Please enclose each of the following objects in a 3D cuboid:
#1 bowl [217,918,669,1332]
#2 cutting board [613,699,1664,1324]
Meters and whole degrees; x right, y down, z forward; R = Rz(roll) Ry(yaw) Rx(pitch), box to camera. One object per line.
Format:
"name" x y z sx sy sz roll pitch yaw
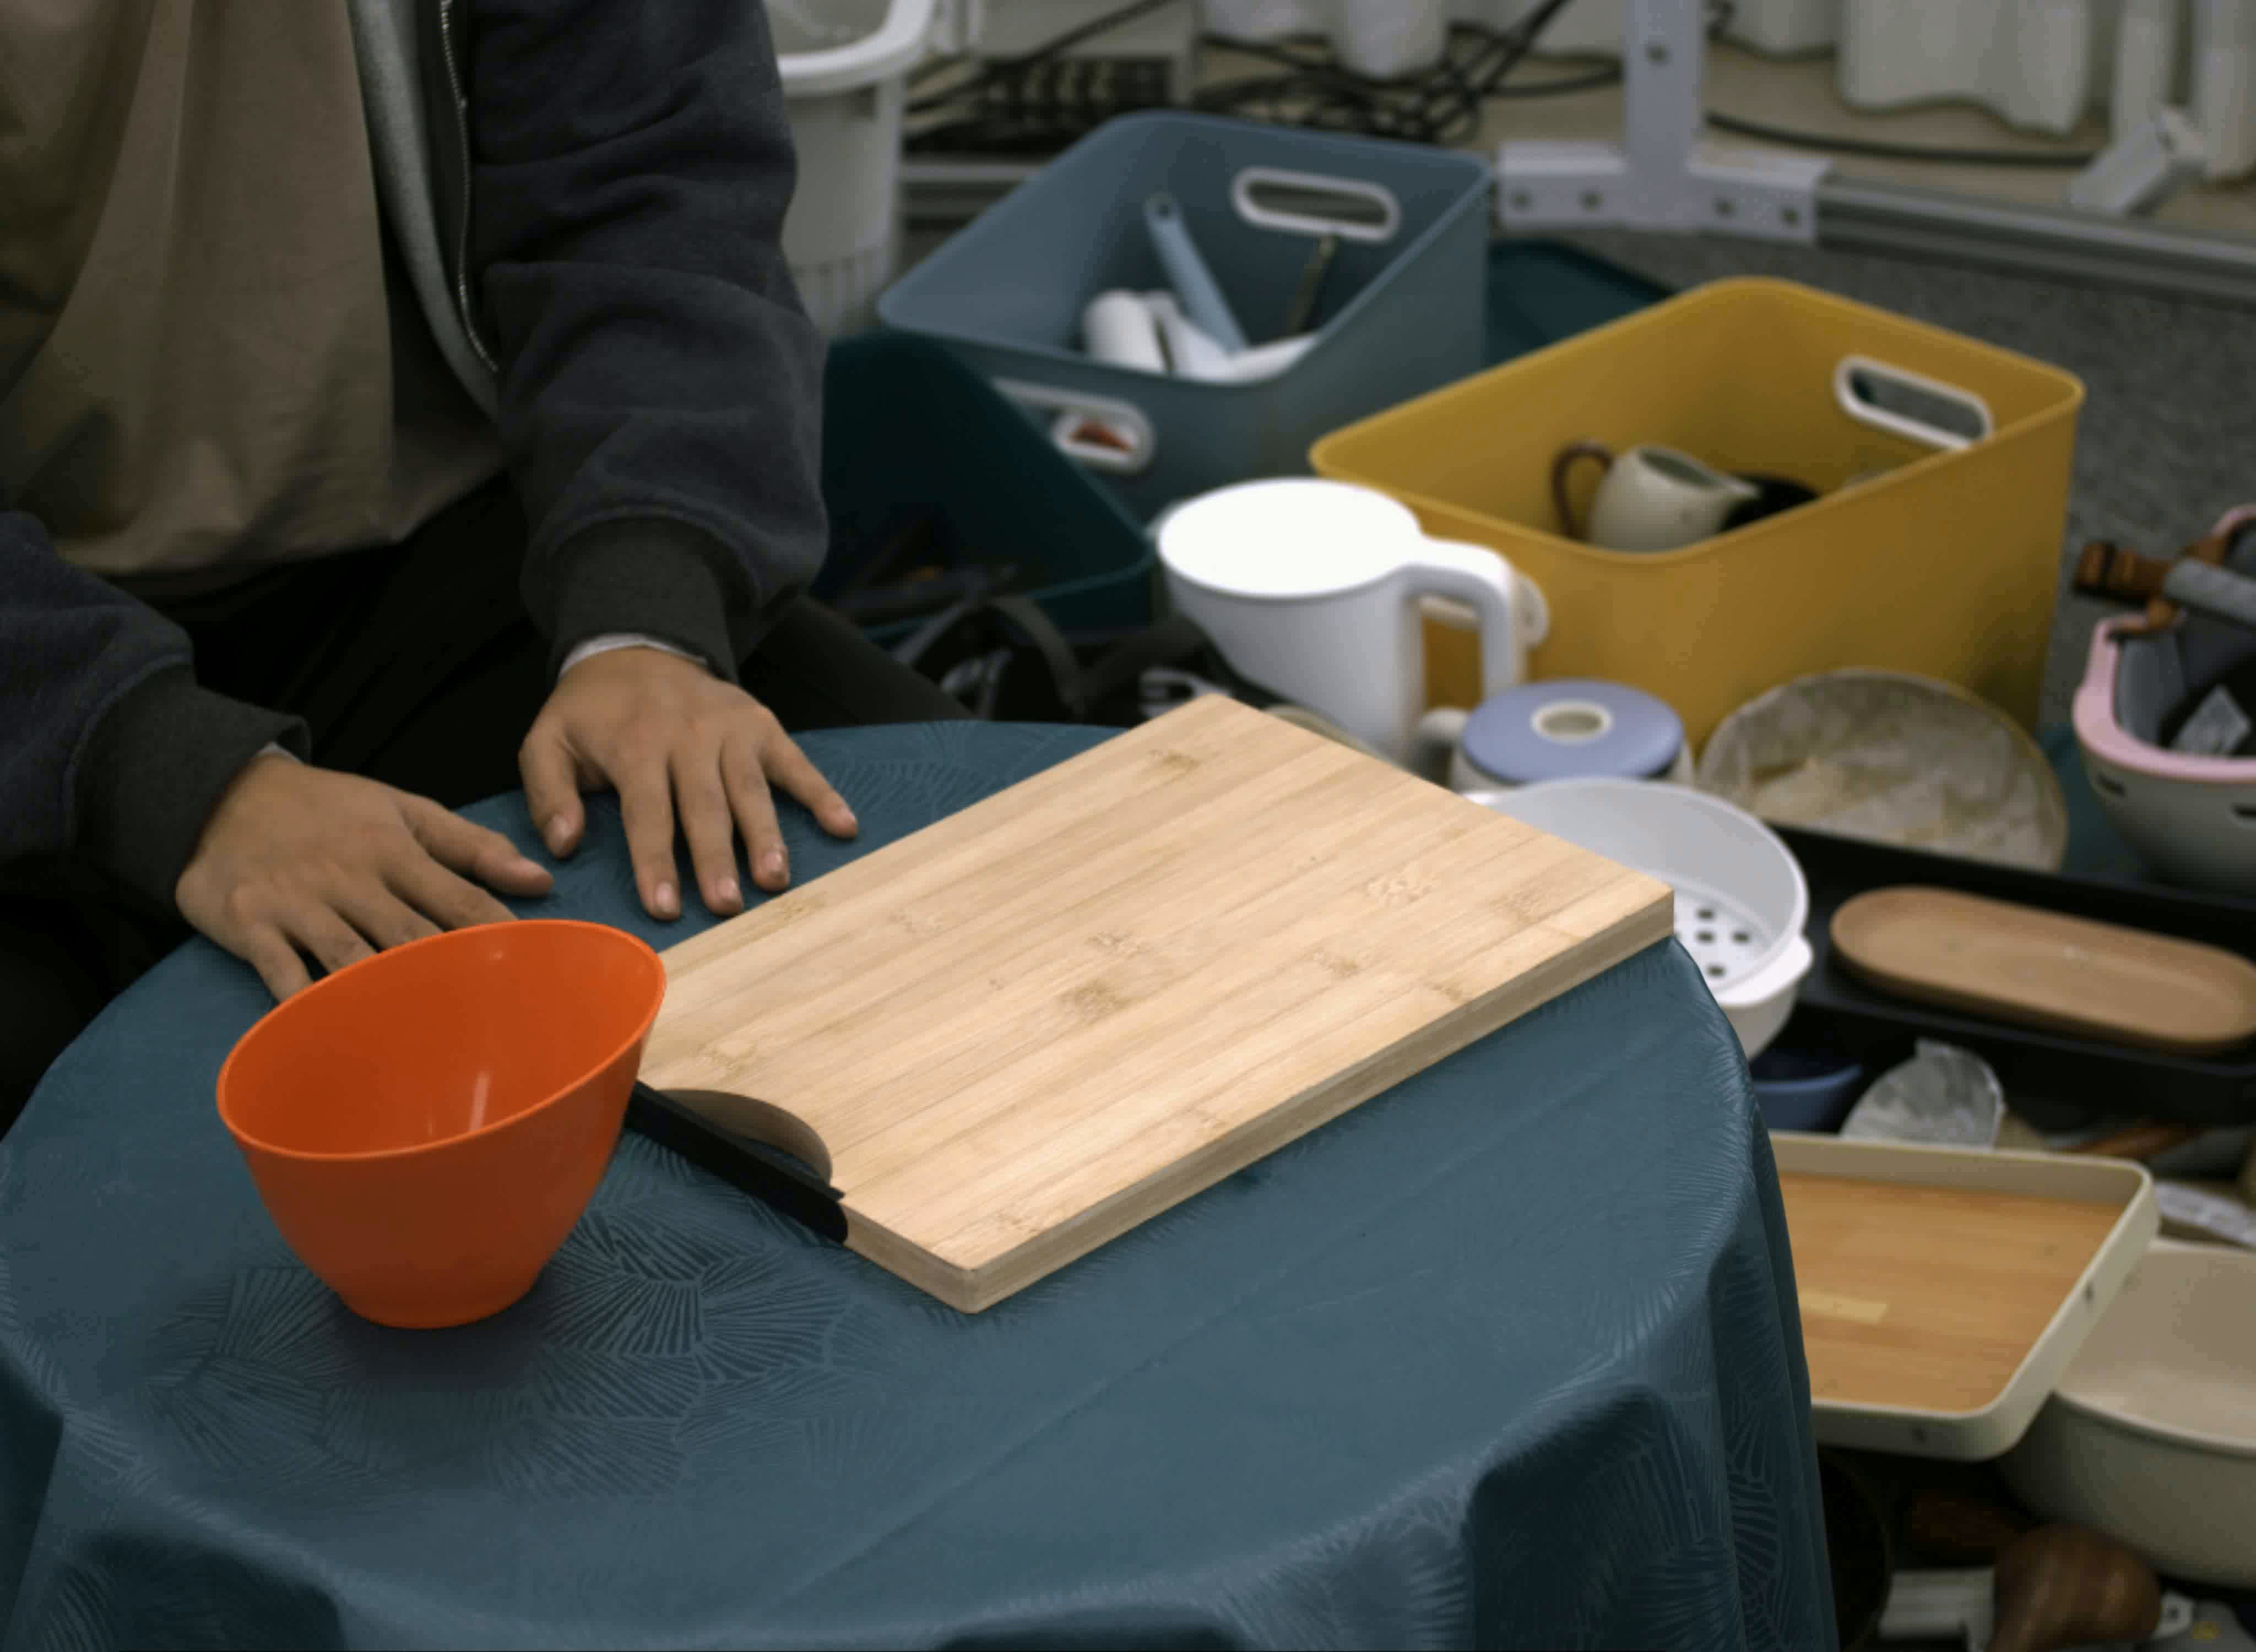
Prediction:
"bowl" -0.217 0.103 1.809 0.147 0.103 0.150 -2 29 2
"cutting board" -0.014 0.056 1.972 0.353 0.023 0.250 -26 35 -37
